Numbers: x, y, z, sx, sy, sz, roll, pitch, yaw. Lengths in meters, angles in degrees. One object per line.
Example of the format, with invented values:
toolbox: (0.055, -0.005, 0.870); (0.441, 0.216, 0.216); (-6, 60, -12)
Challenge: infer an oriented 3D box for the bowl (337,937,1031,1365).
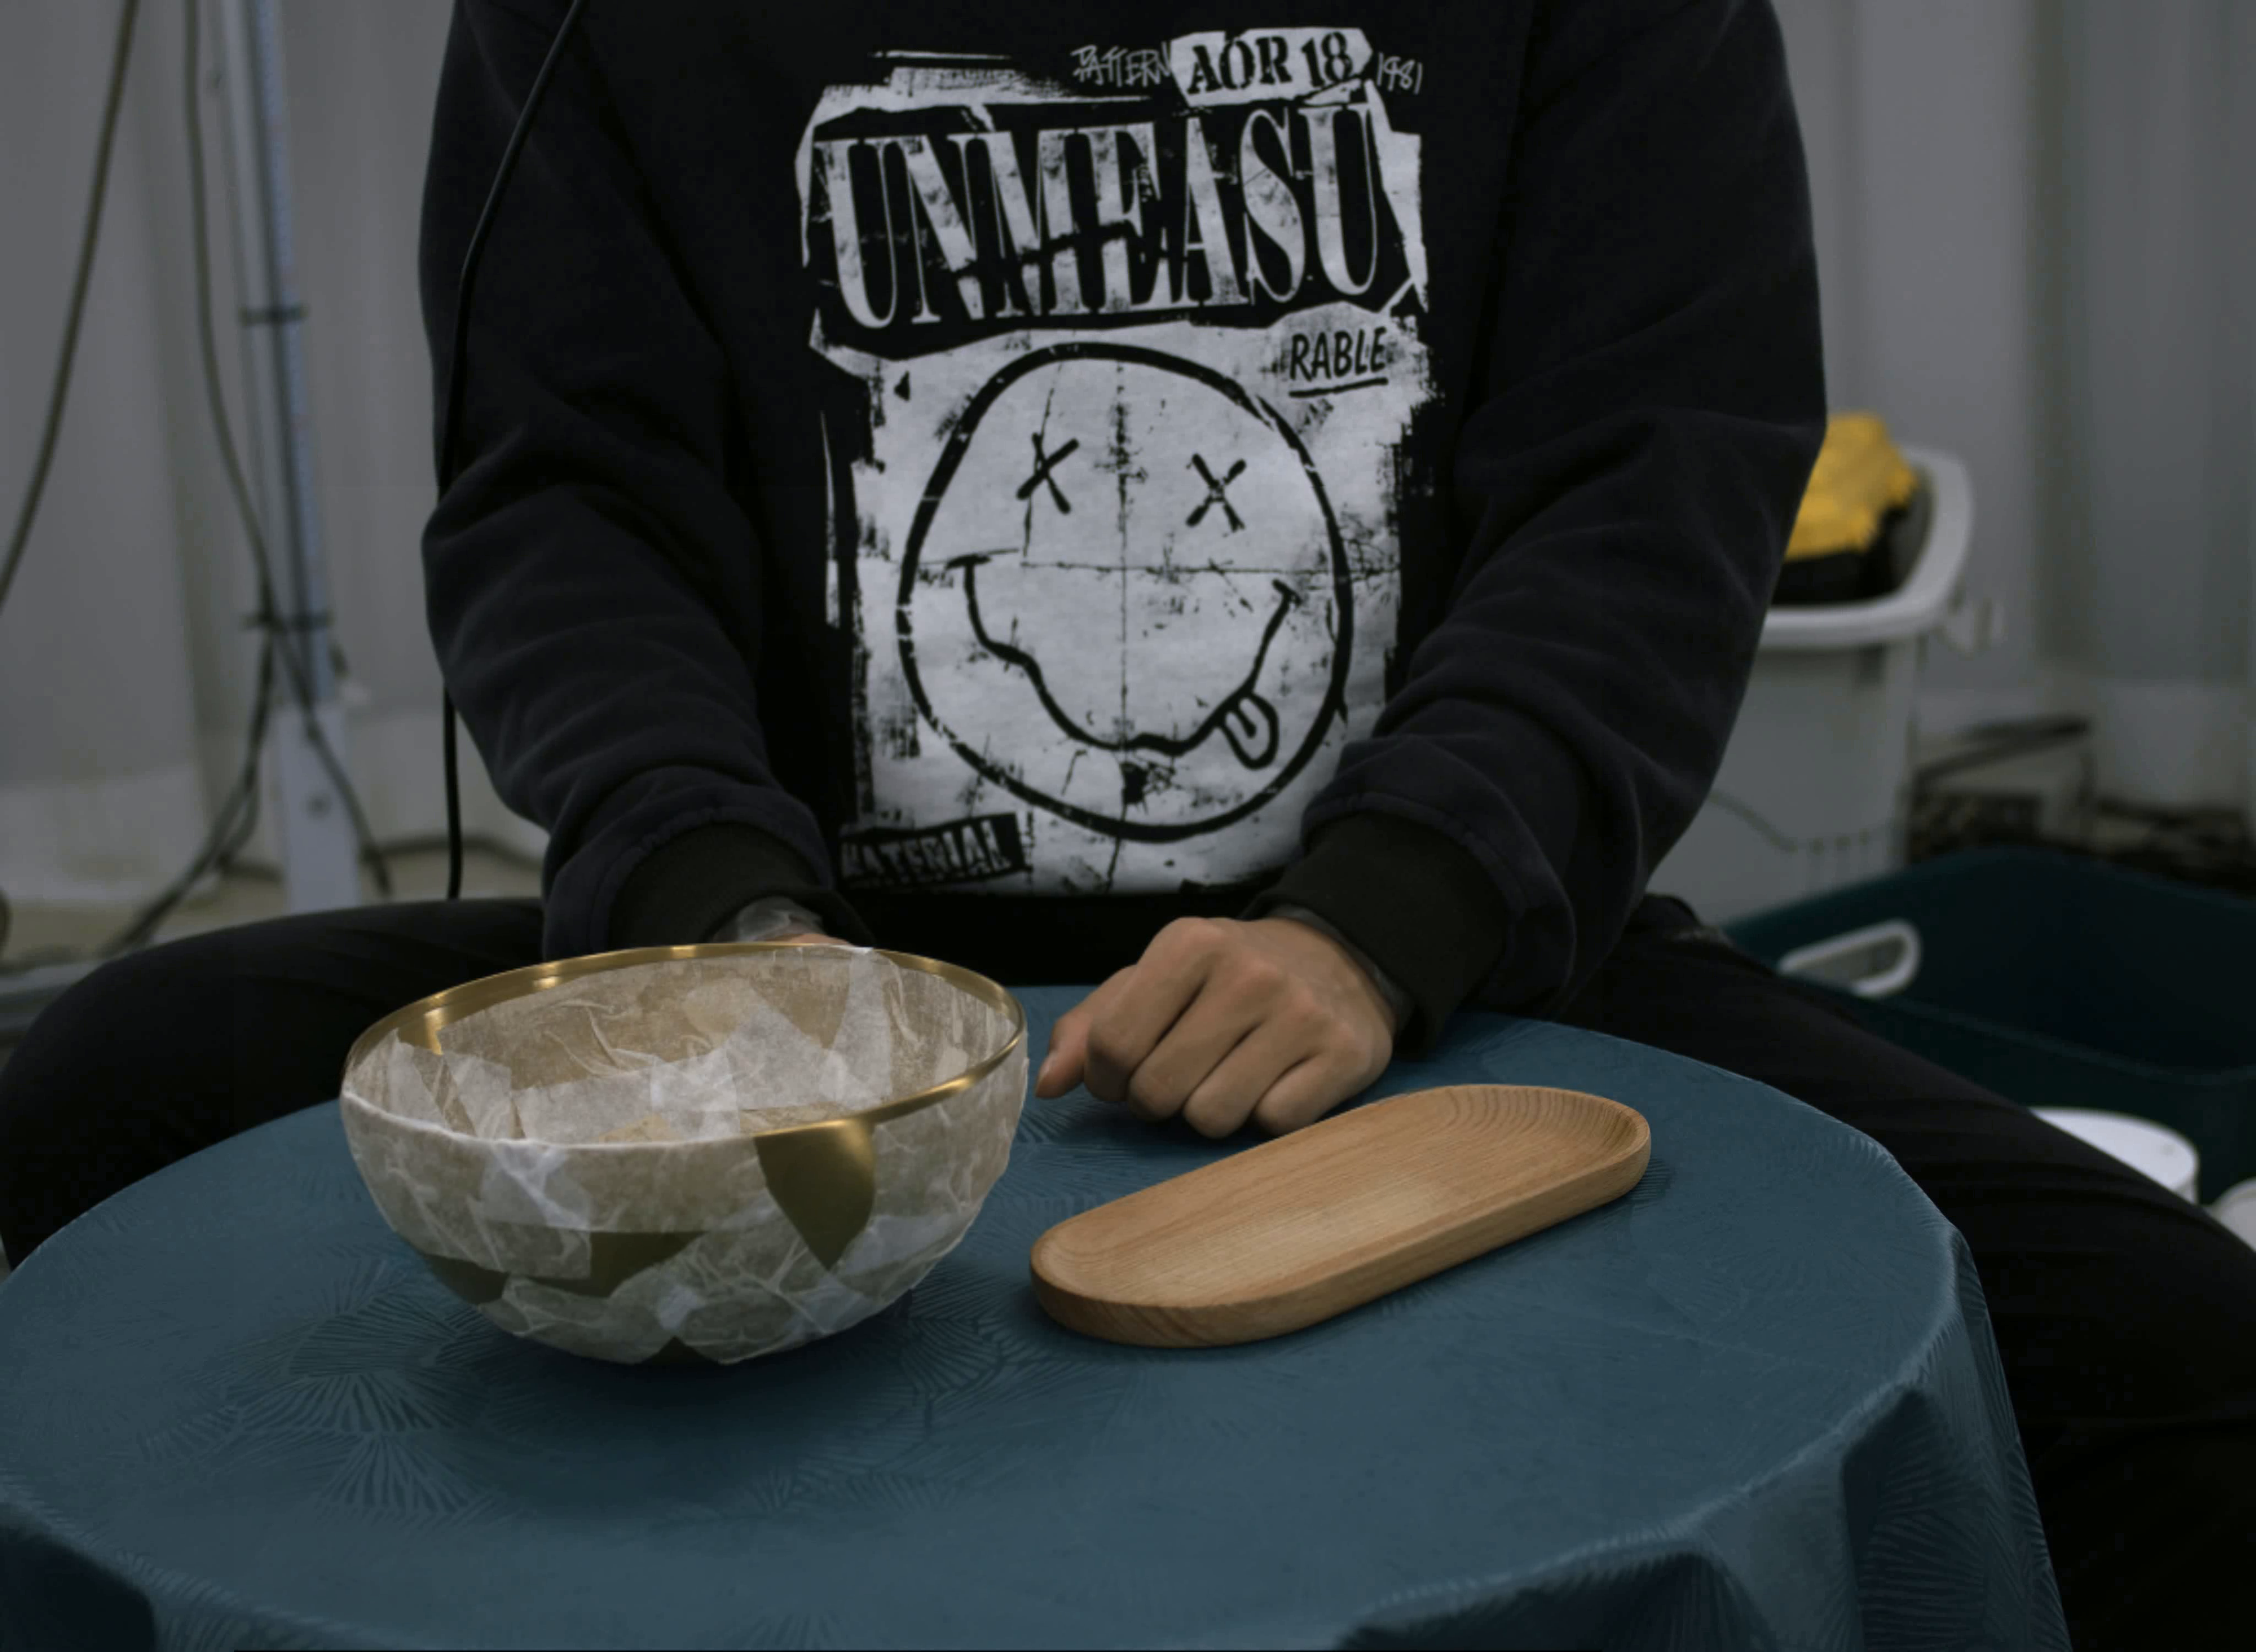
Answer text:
bowl: (-0.123, 0.103, 1.603); (0.214, 0.094, 0.216); (-4, 14, 1)

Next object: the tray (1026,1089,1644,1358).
tray: (0.066, 0.119, 1.658); (0.102, 0.020, 0.231); (8, 20, 43)
